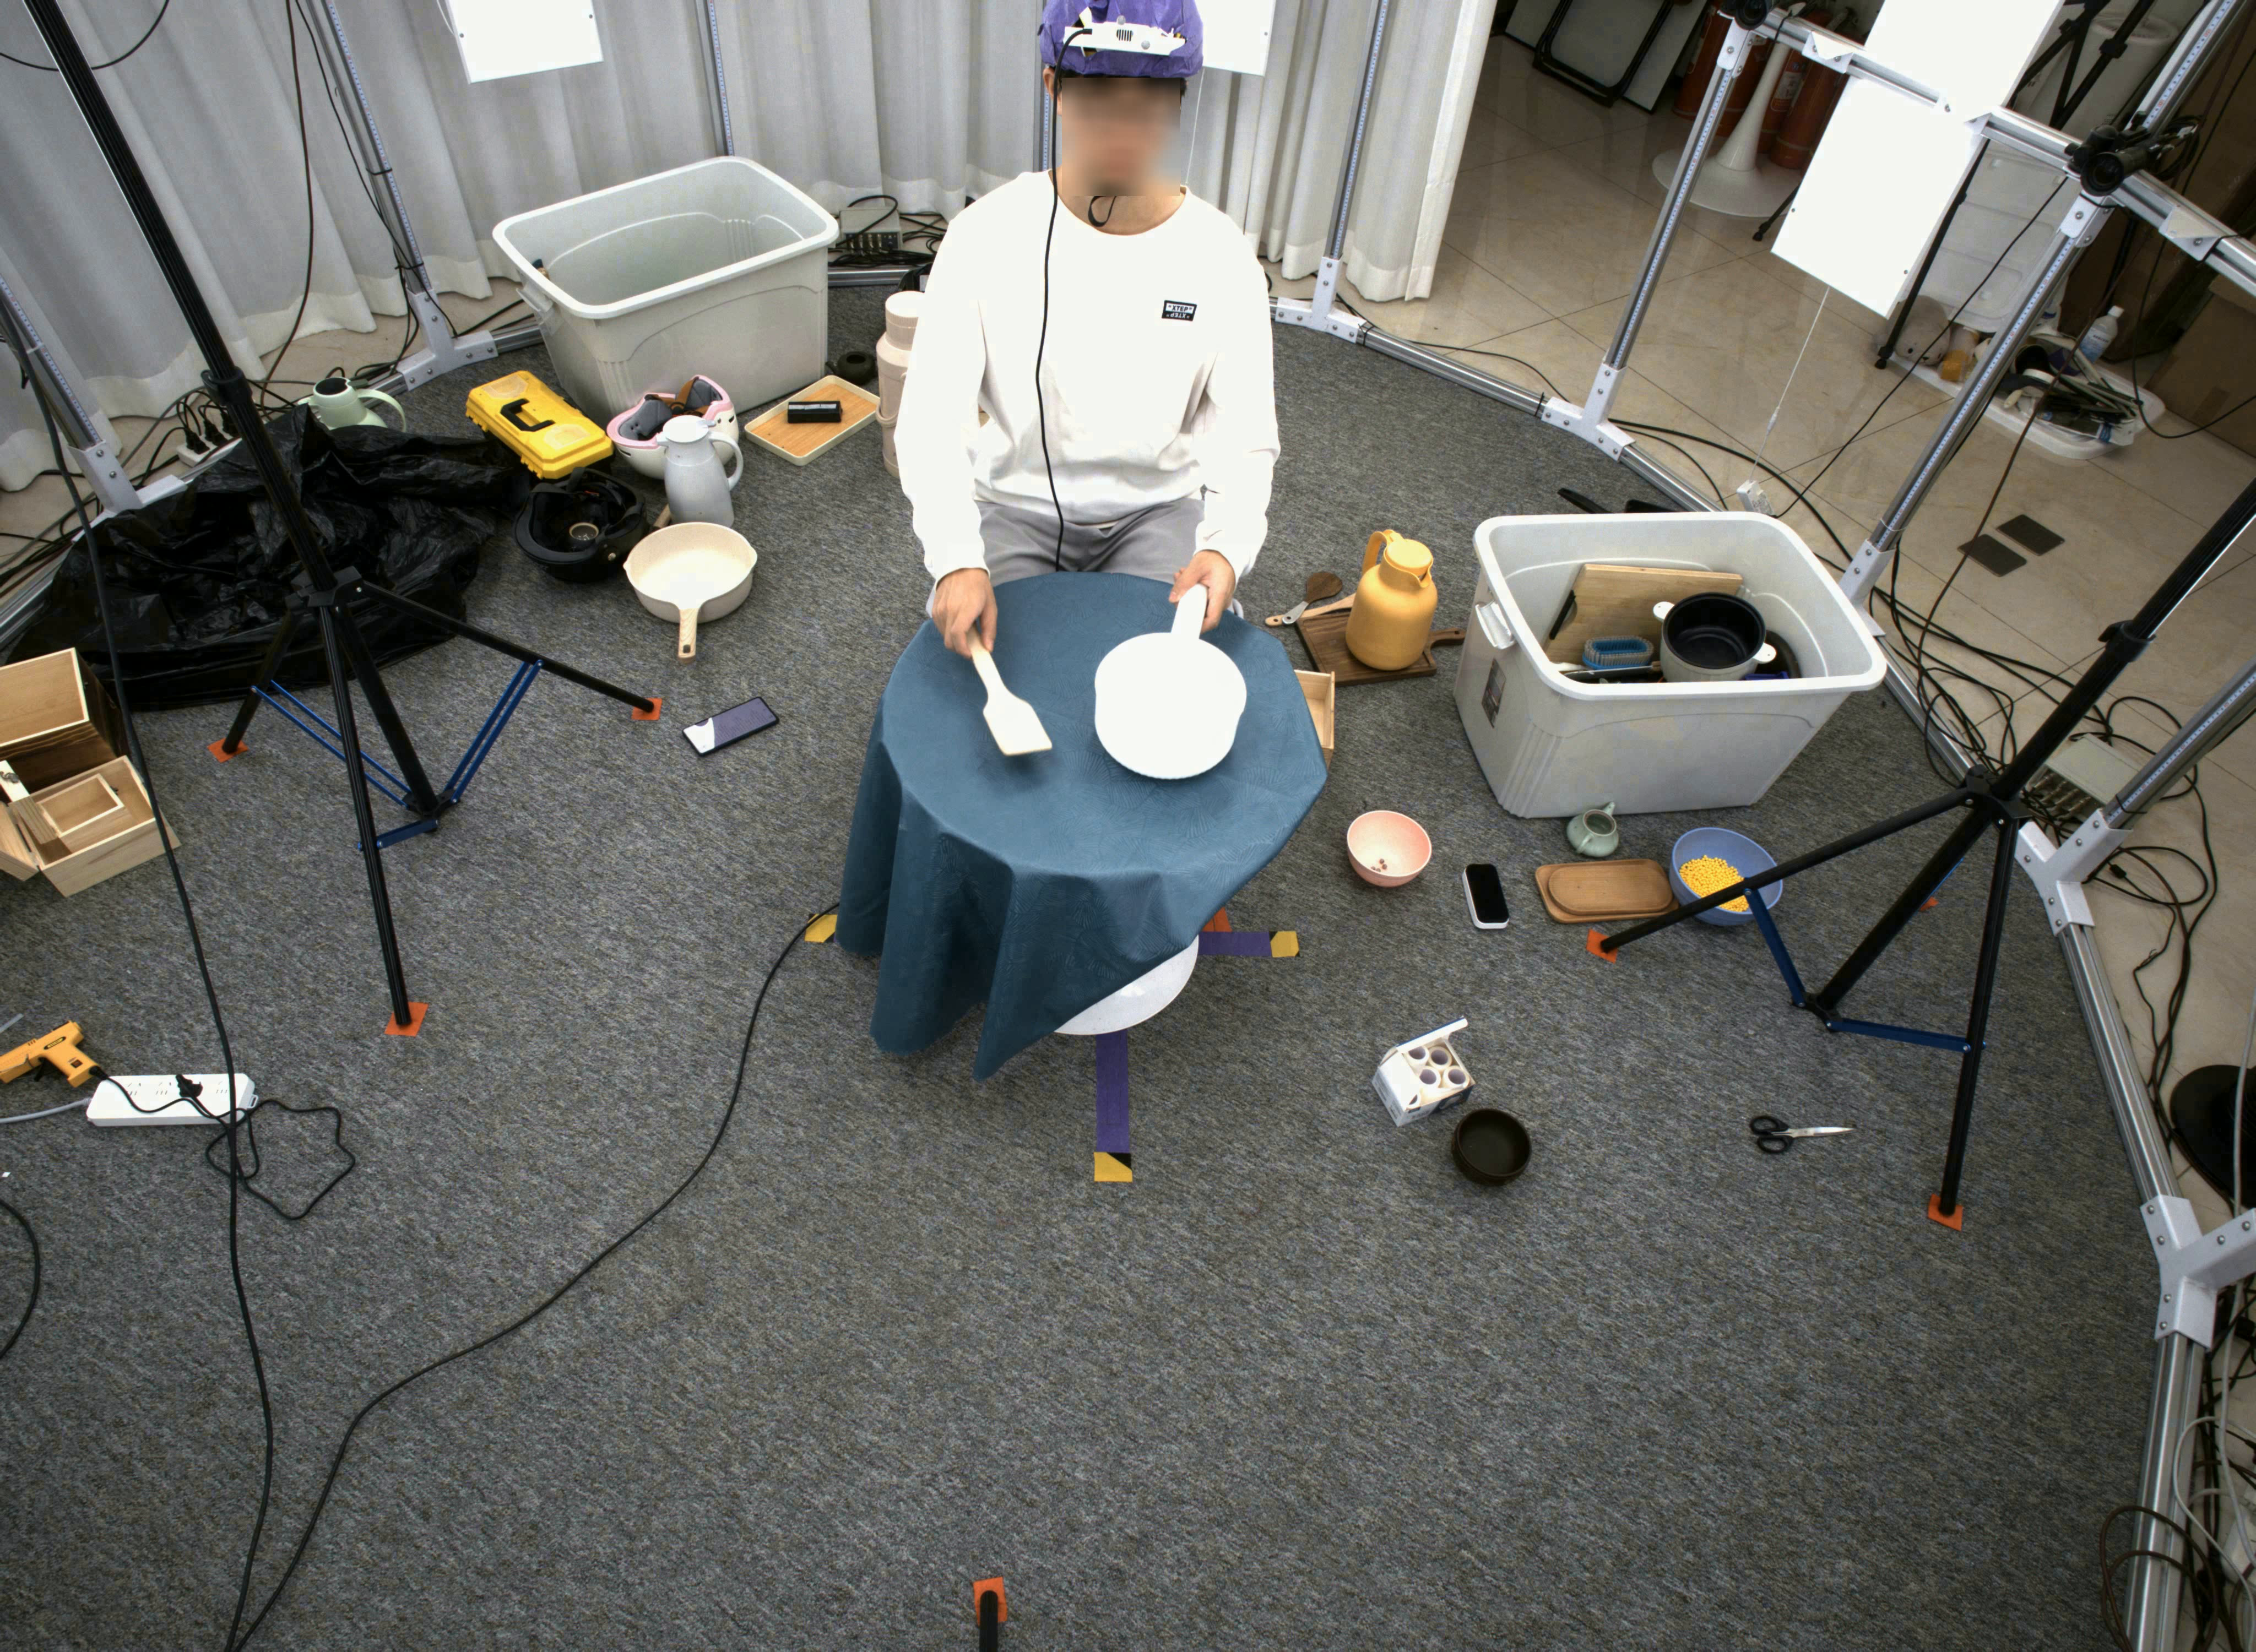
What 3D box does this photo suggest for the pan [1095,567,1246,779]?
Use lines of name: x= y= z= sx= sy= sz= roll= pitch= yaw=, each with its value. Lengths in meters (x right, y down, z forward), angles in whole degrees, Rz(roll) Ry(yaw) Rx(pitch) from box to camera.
pan: x=0.069 y=-0.214 z=1.789 sx=0.201 sy=0.099 sz=0.363 roll=11 pitch=49 yaw=5

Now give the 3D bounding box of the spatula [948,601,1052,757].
spatula: x=-0.189 y=-0.207 z=1.766 sx=0.072 sy=0.010 sz=0.299 roll=-11 pitch=55 yaw=-25
